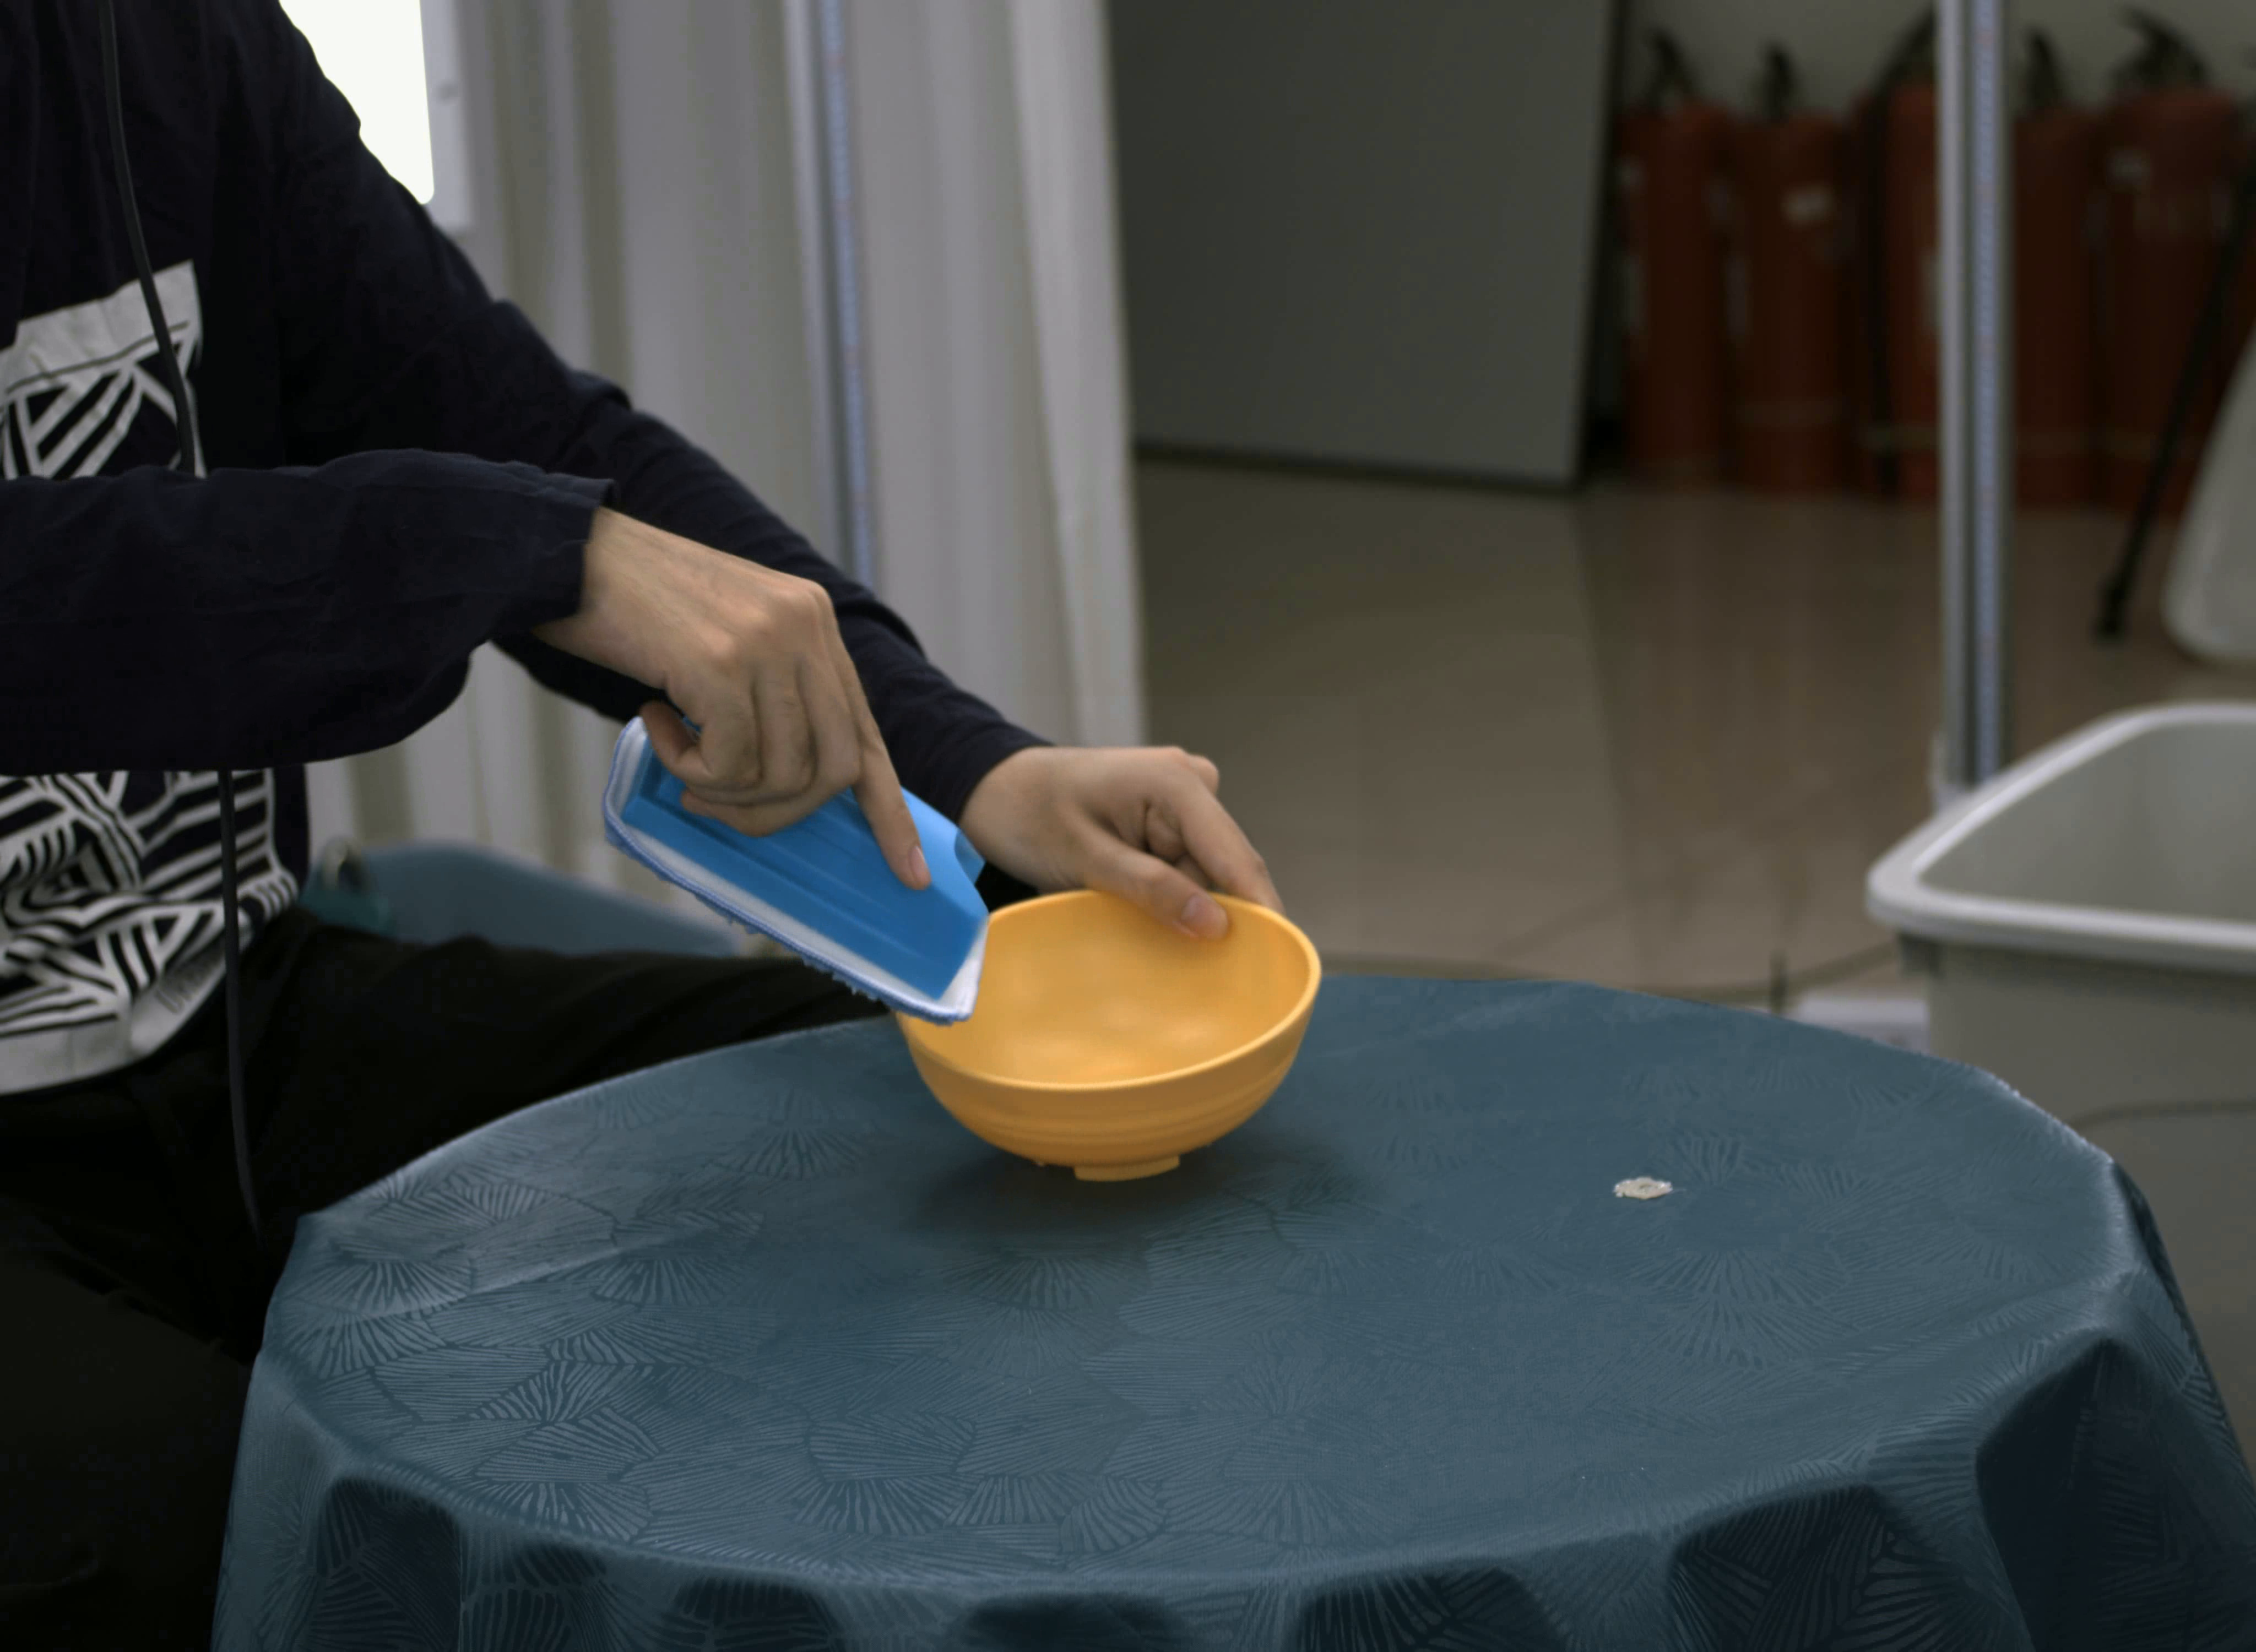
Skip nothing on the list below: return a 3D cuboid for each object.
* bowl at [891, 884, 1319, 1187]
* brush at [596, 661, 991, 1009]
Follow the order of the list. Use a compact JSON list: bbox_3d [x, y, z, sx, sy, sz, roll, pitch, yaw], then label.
[{"bbox_3d":[-0.006,0.079,1.804,0.143,0.060,0.146,-5,26,1],"label":"bowl"},{"bbox_3d":[-0.101,-0.002,1.736,0.142,0.056,0.084,34,21,-10],"label":"brush"}]
